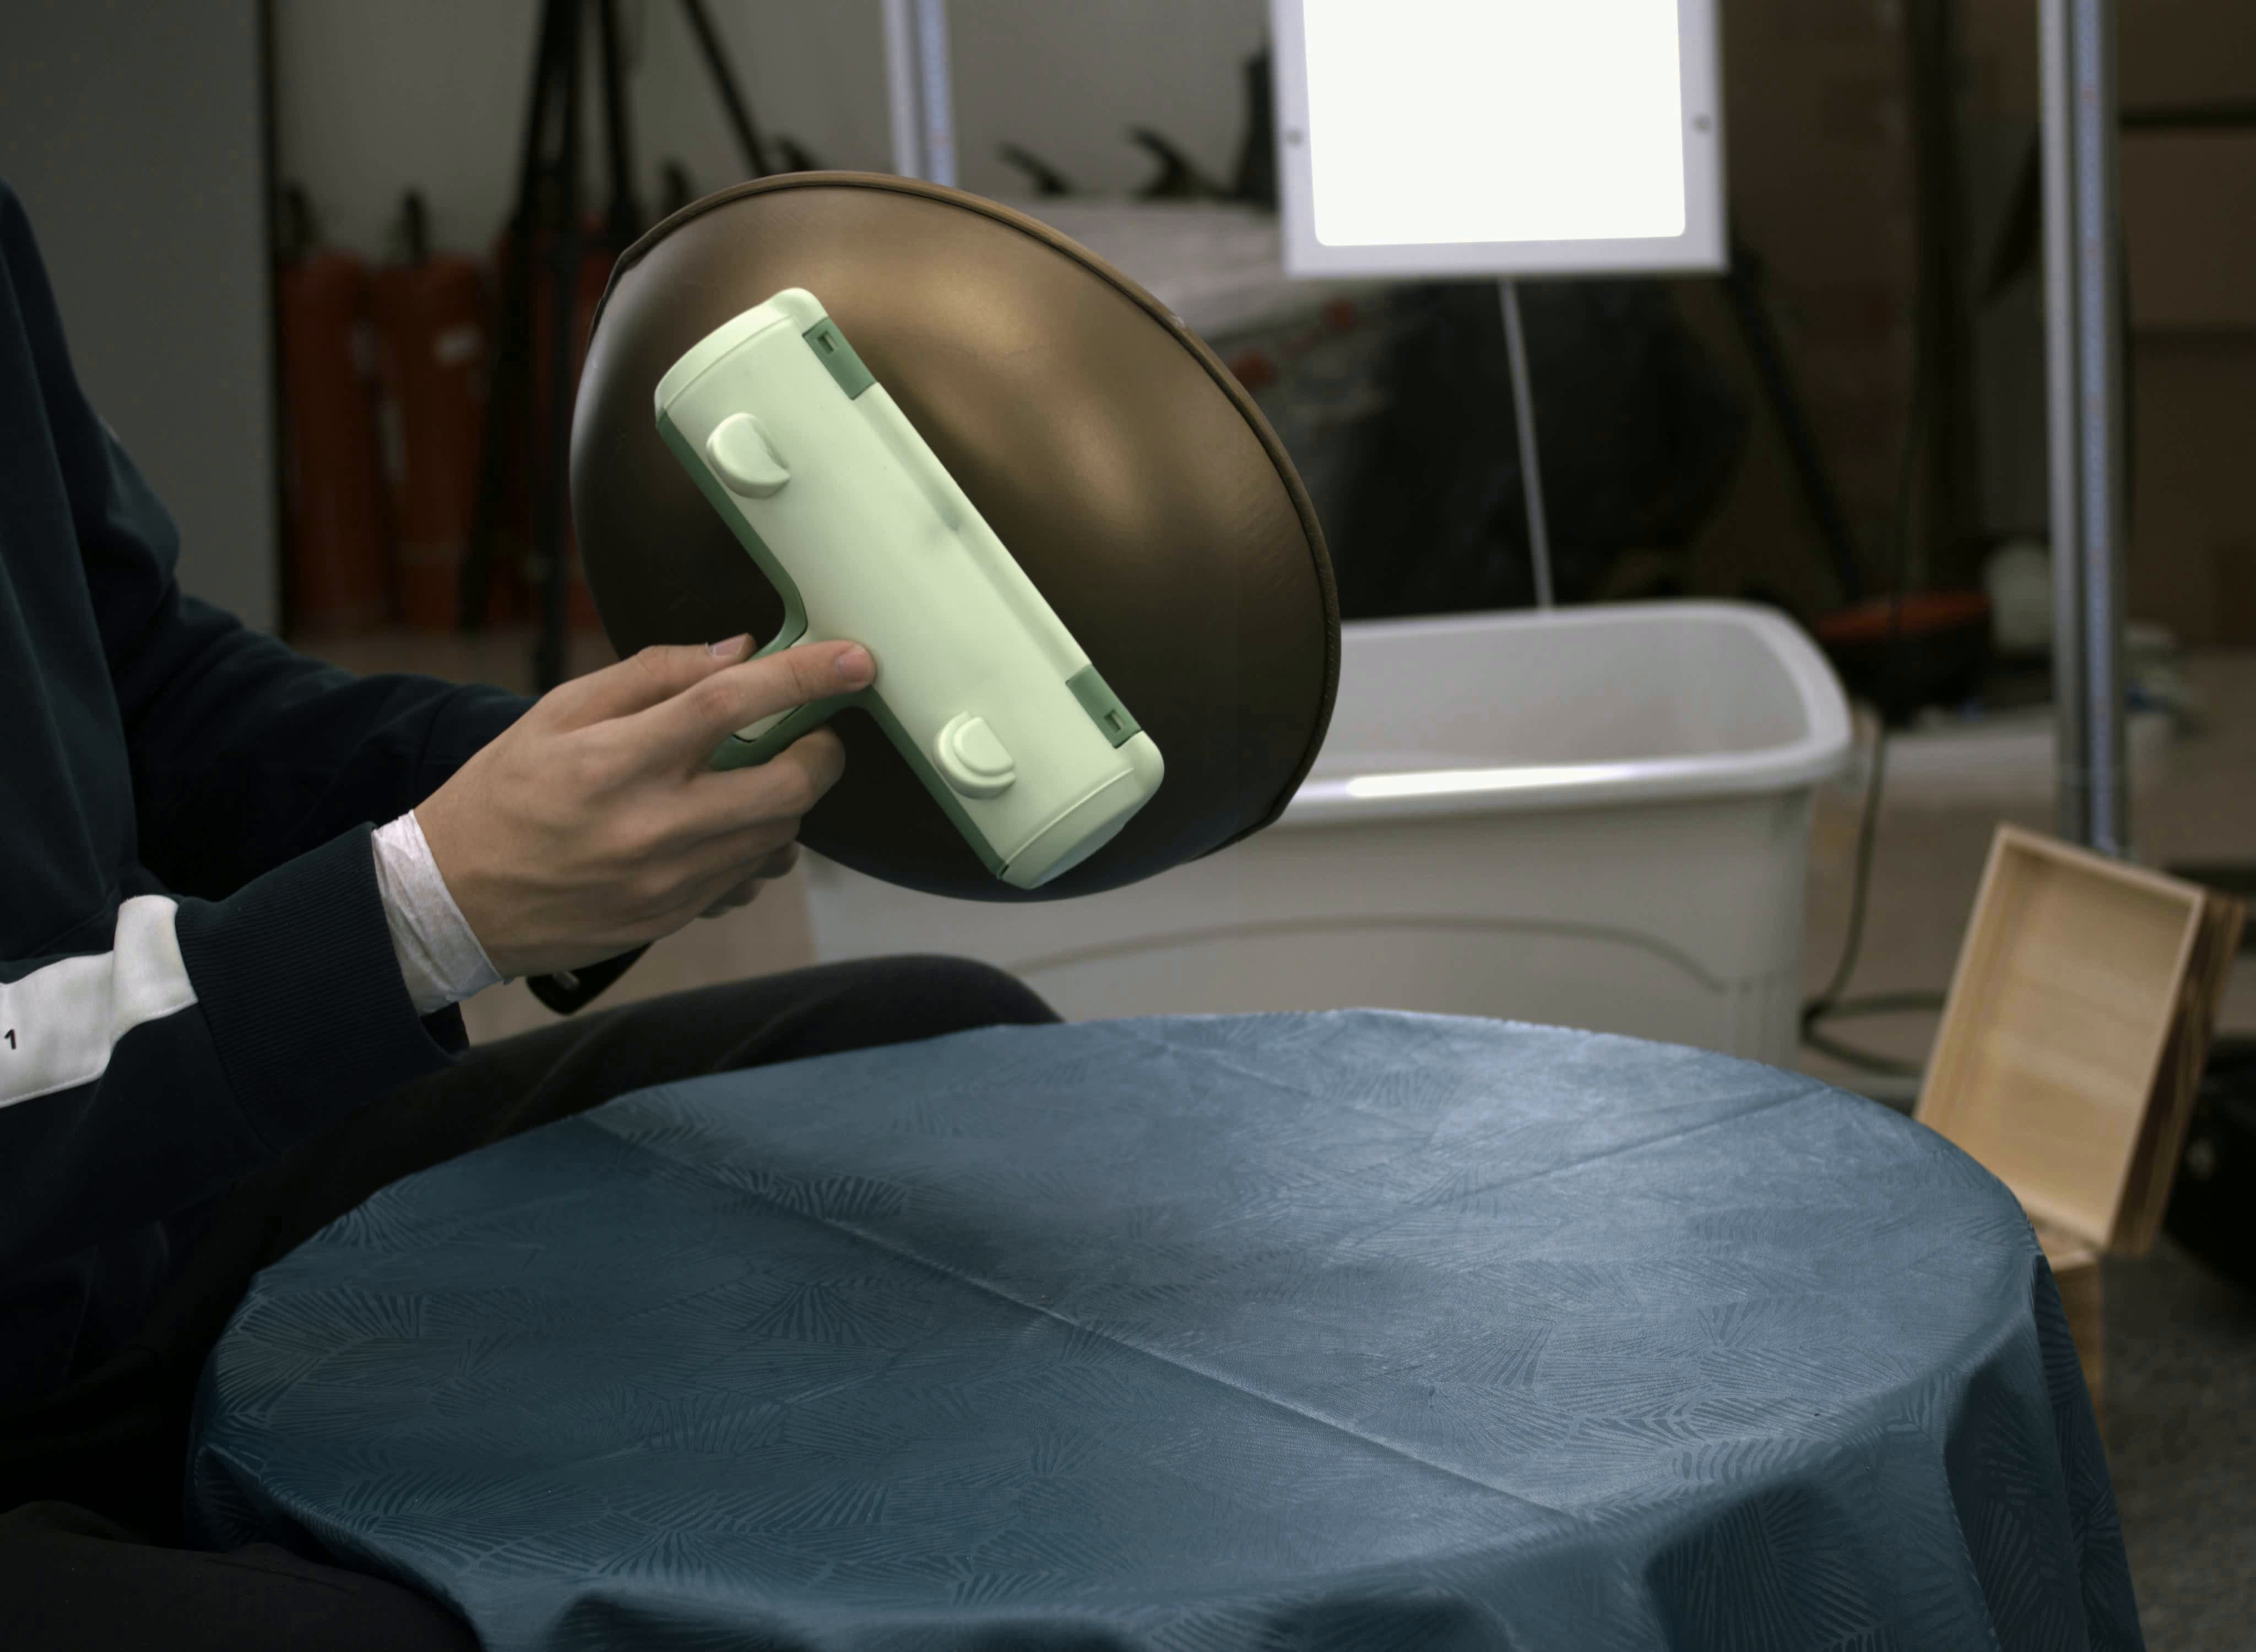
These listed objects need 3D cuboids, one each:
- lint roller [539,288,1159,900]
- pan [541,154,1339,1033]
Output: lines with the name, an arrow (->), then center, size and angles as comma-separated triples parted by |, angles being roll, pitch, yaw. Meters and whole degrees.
lint roller -> -0.116, -0.037, 1.695 | 0.184, 0.199, 0.081 | -38, -7, 8
pan -> -0.119, -0.032, 1.870 | 0.472, 0.287, 0.085 | -45, 4, 47
